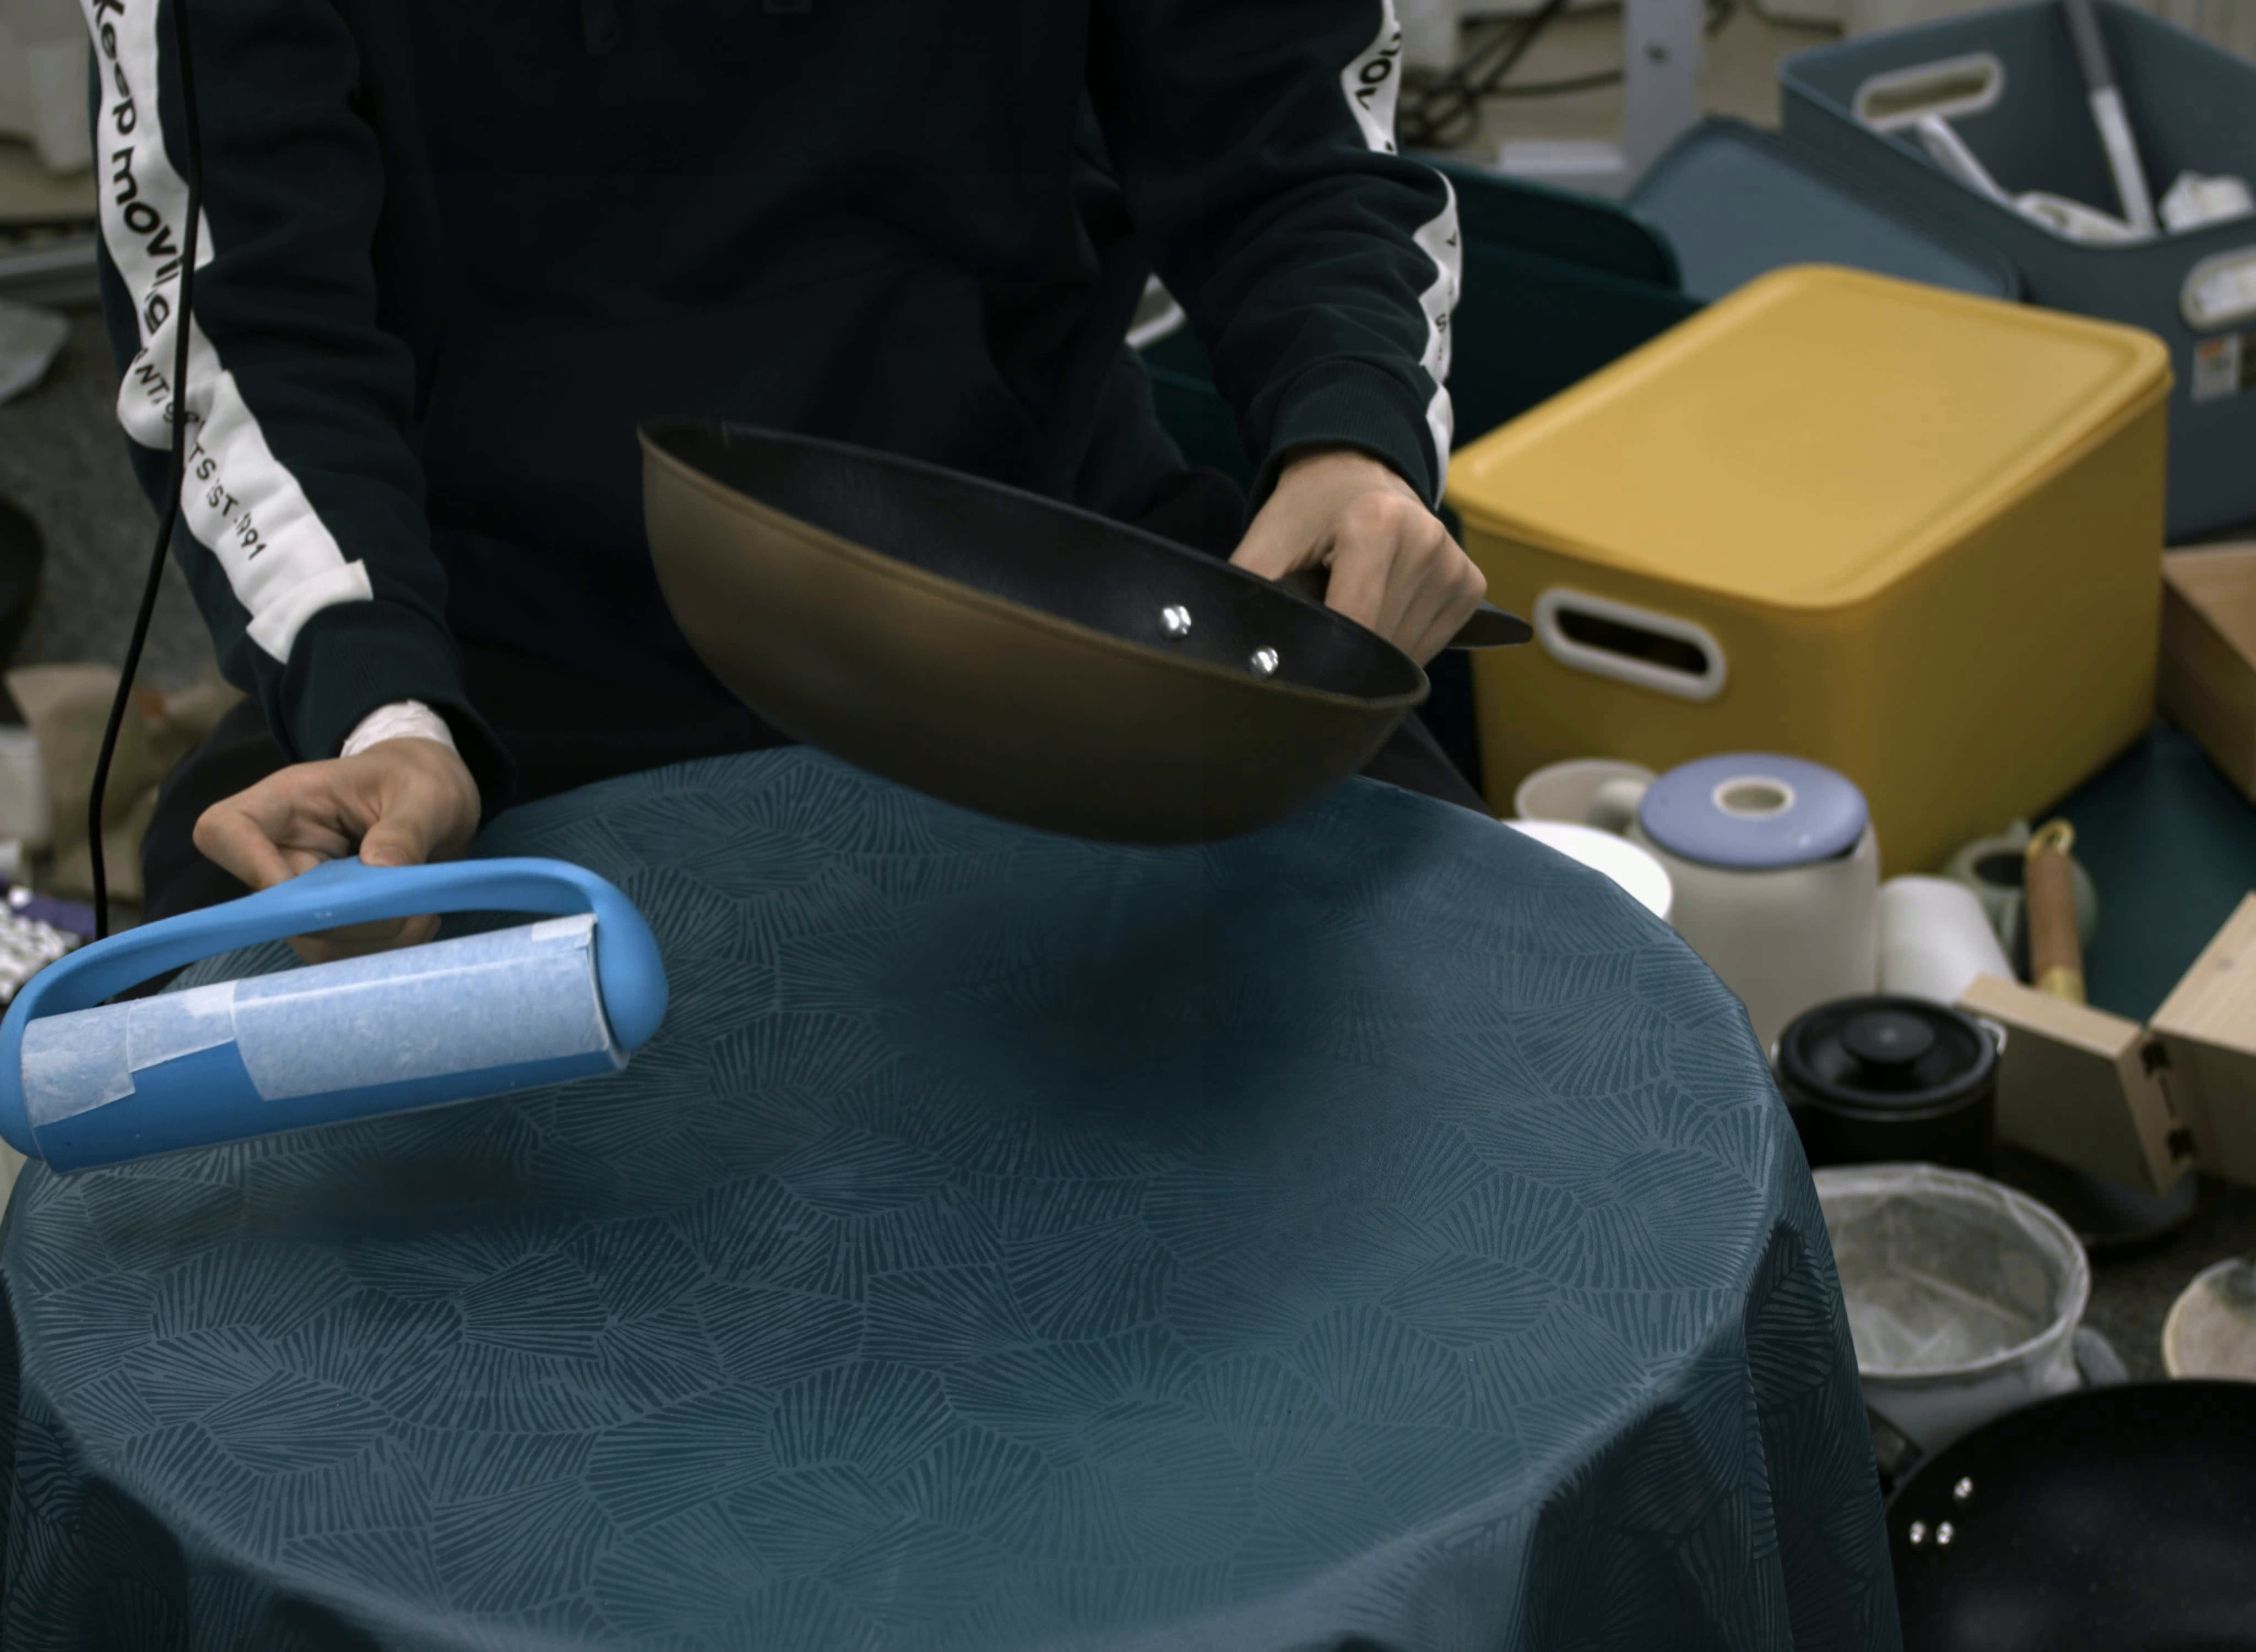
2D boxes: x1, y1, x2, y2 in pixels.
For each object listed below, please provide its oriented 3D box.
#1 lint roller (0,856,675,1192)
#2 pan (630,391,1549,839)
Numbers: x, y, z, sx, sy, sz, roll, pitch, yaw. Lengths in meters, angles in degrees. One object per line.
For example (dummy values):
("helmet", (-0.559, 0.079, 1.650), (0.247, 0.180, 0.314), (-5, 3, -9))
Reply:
("lint roller", (-0.264, 0.047, 1.888), (0.228, 0.067, 0.182), (-15, 25, 2))
("pan", (0.005, -0.057, 1.979), (0.288, 0.086, 0.464), (26, 11, 33))
